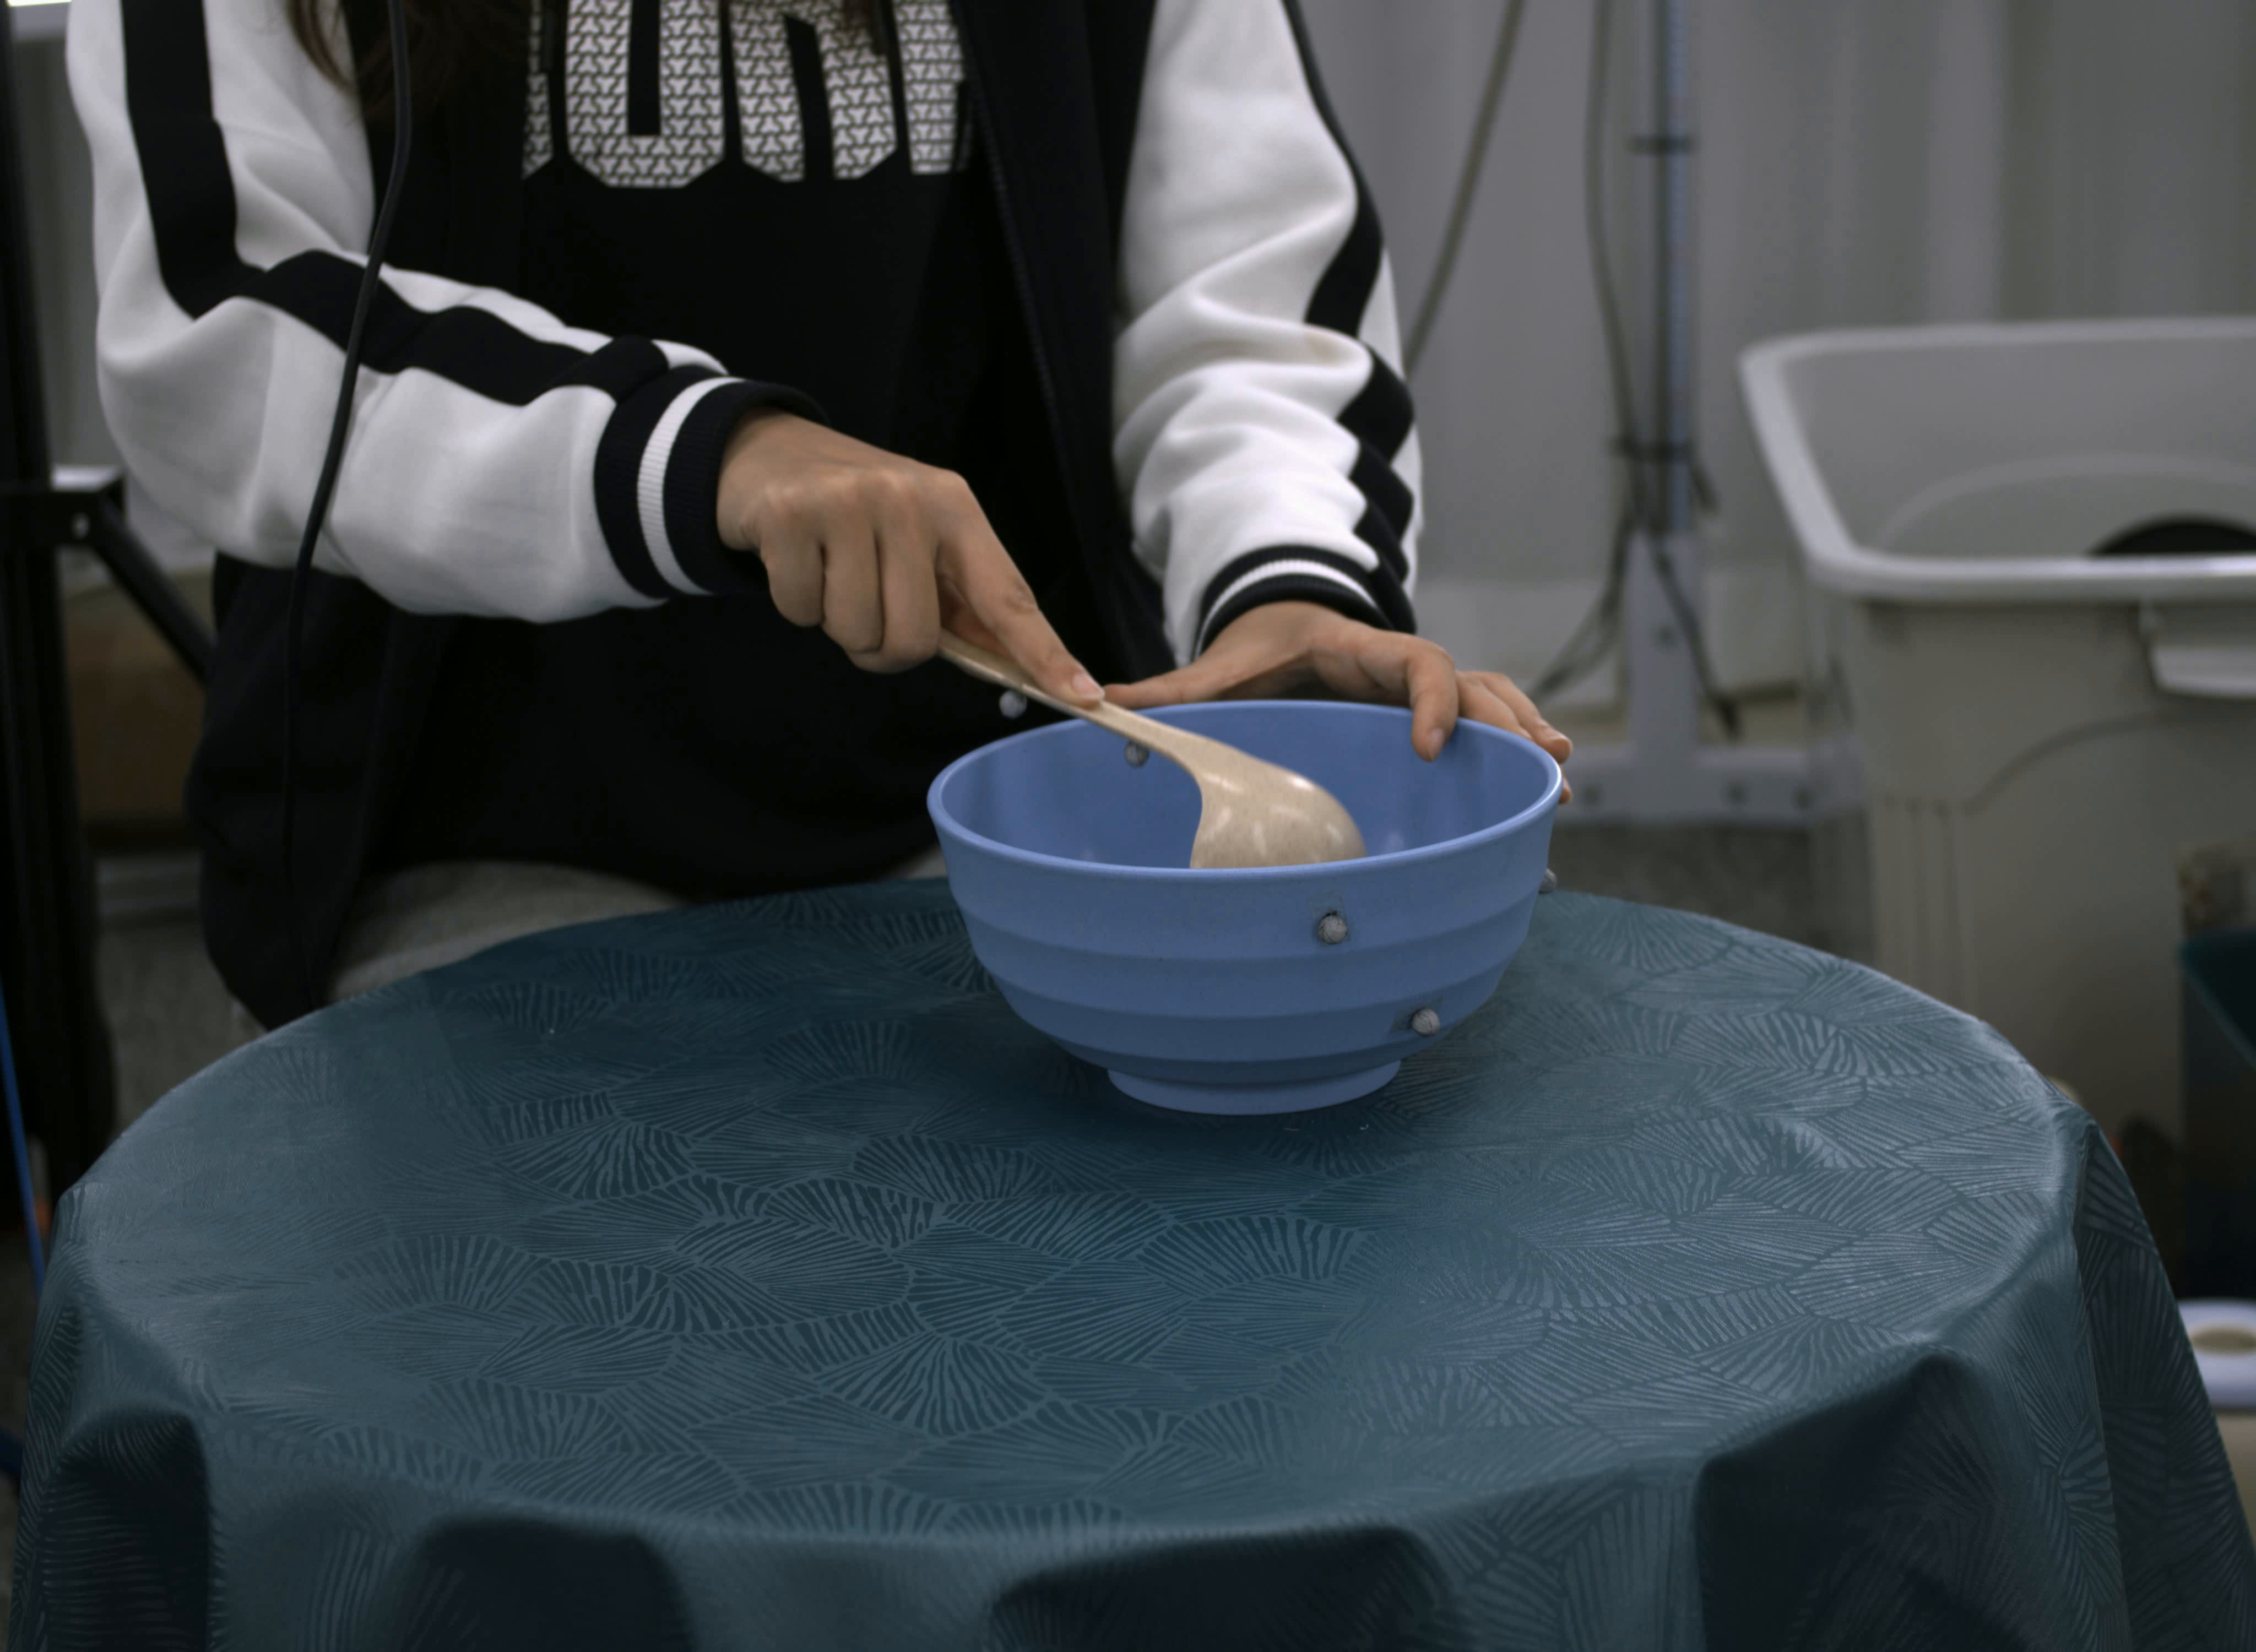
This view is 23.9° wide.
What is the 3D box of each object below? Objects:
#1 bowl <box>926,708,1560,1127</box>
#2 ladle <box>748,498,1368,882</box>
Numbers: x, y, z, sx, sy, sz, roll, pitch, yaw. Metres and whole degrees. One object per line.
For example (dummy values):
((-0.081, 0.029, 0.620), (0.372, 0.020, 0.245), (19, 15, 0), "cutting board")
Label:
((0.038, 0.034, 1.650), (0.195, 0.095, 0.197), (-4, 16, 0), "bowl")
((-0.032, -0.023, 1.700), (0.260, 0.073, 0.070), (29, 32, 32), "ladle")
